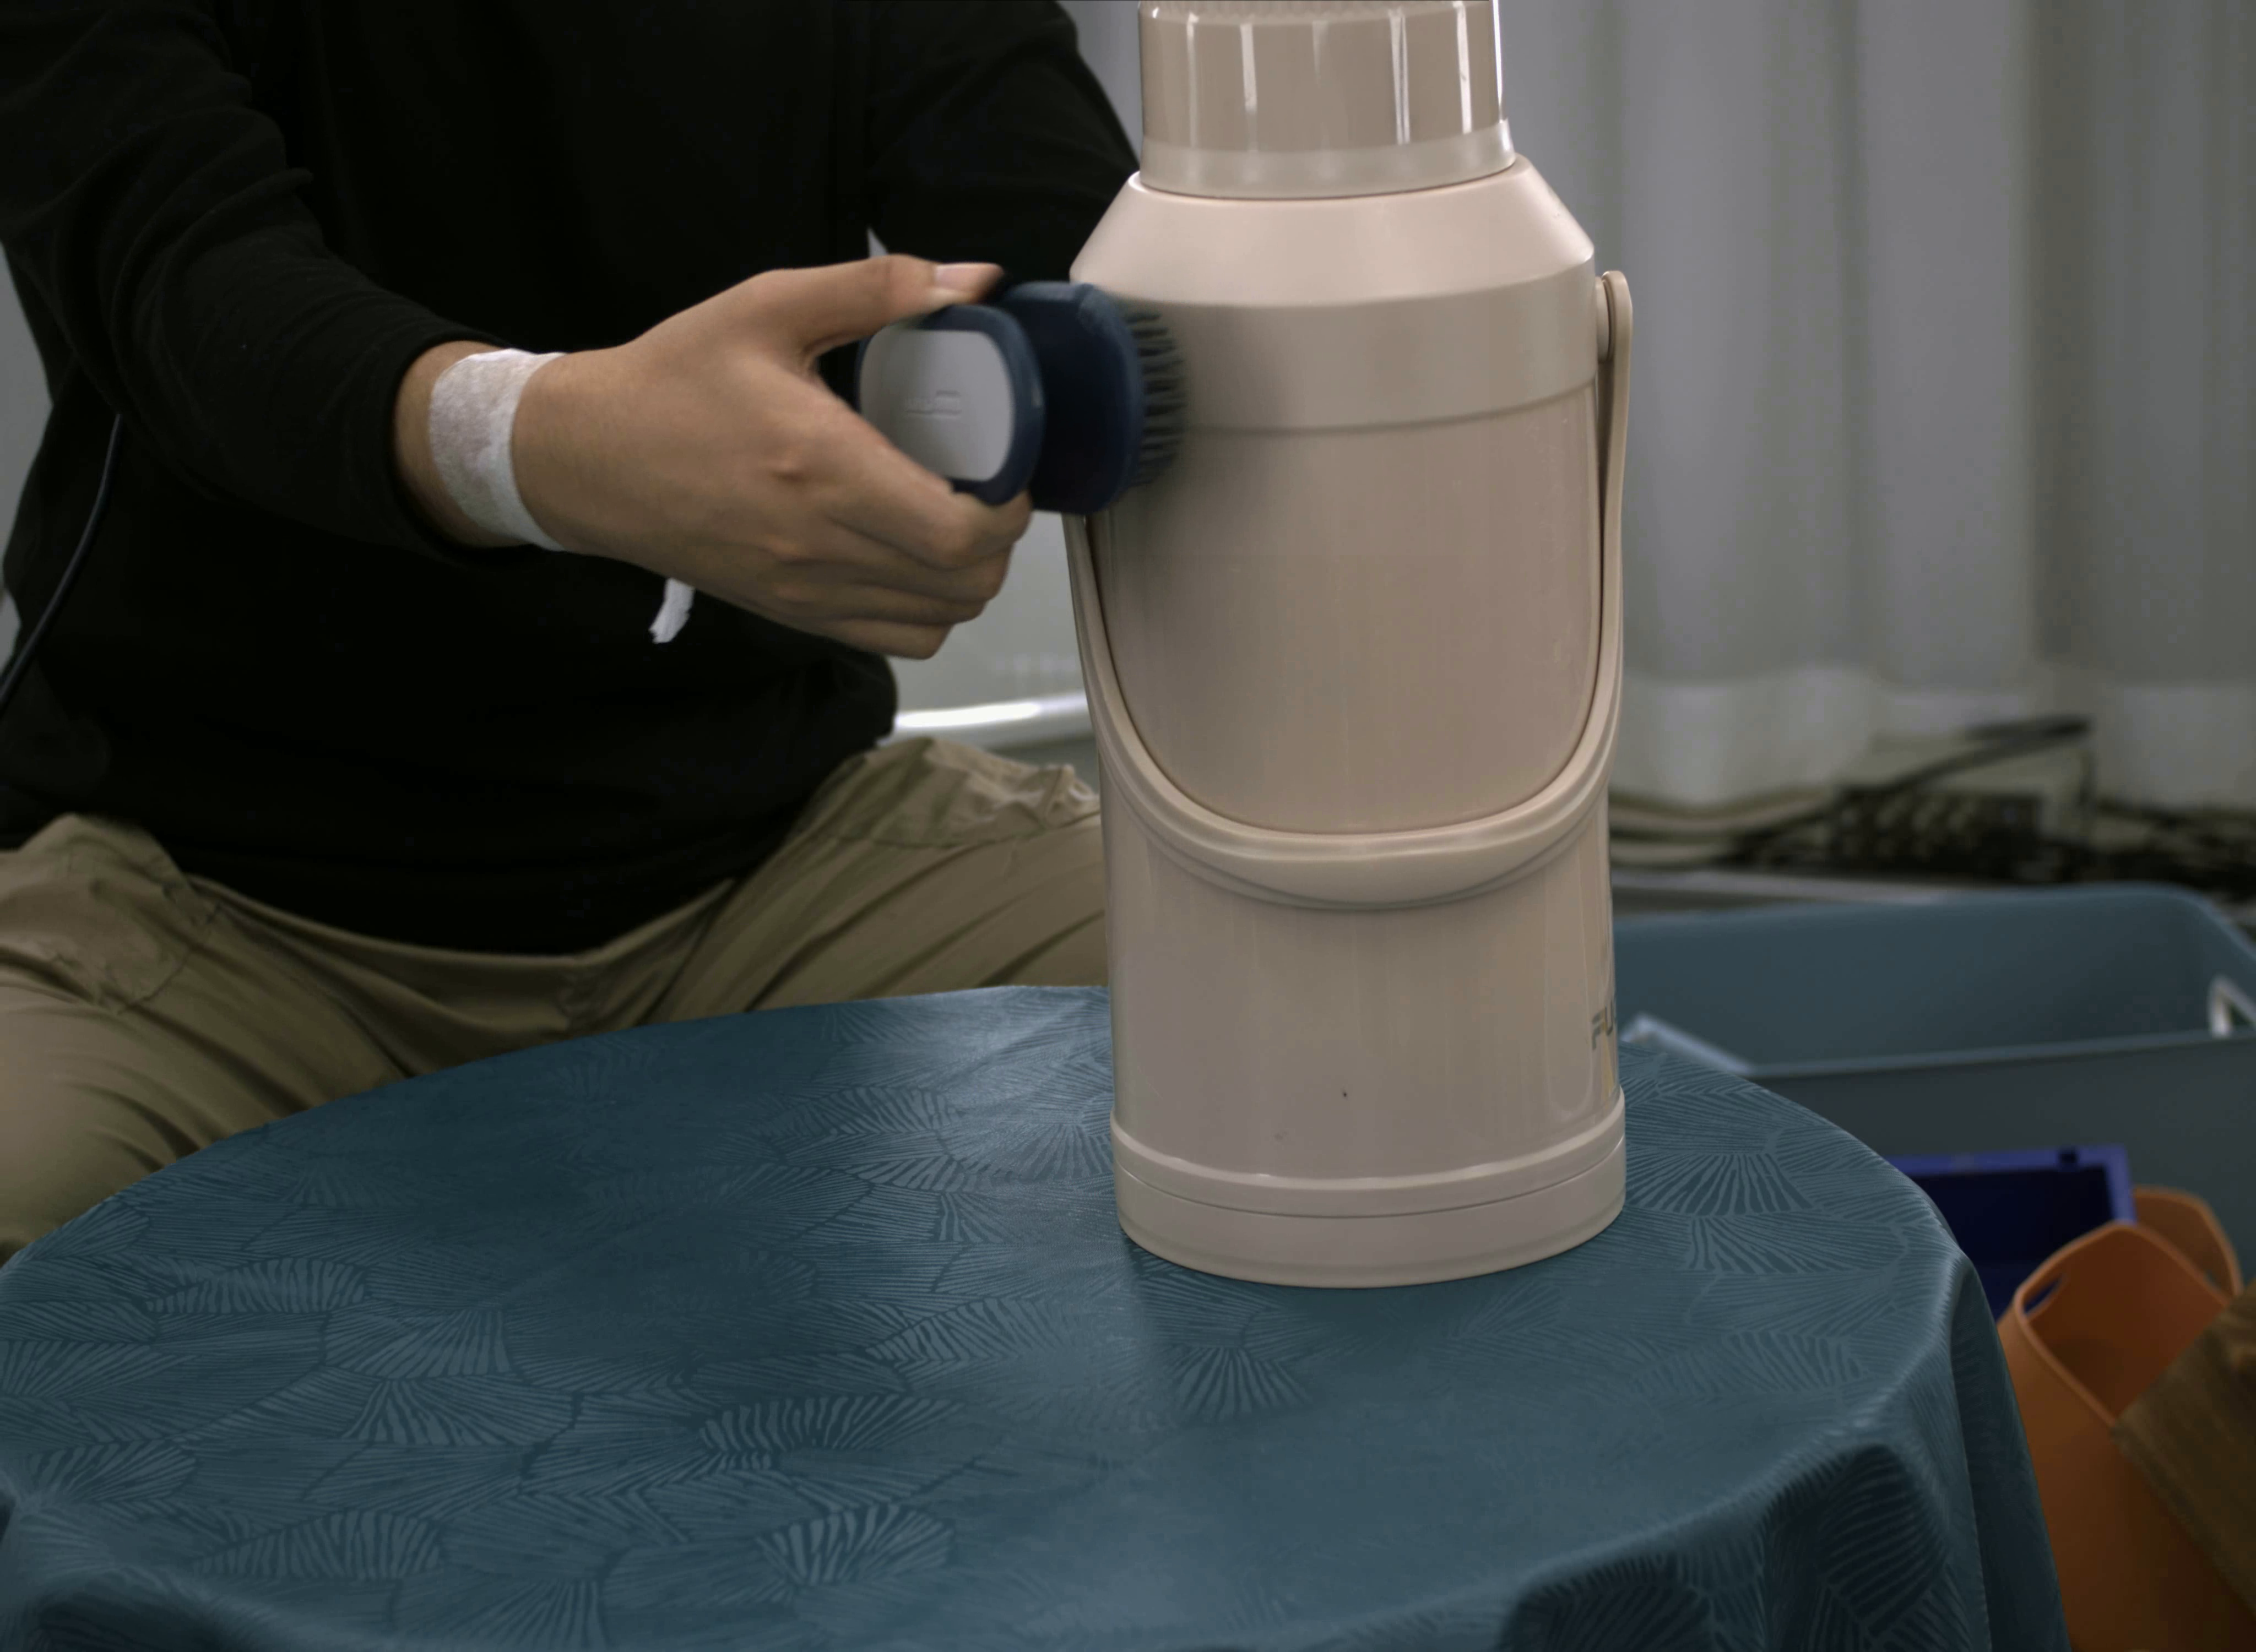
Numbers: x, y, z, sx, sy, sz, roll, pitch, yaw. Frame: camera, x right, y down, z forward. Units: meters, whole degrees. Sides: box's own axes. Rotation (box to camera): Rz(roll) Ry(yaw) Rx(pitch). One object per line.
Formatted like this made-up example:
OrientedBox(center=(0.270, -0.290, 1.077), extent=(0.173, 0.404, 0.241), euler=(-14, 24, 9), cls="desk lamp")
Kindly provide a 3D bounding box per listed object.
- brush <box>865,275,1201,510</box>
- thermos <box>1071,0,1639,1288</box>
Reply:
OrientedBox(center=(-0.026, -0.125, 1.569), extent=(0.061, 0.068, 0.122), euler=(-7, 11, -27), cls="brush")
OrientedBox(center=(0.068, -0.079, 1.661), extent=(0.174, 0.405, 0.208), euler=(-5, 14, -4), cls="thermos")
